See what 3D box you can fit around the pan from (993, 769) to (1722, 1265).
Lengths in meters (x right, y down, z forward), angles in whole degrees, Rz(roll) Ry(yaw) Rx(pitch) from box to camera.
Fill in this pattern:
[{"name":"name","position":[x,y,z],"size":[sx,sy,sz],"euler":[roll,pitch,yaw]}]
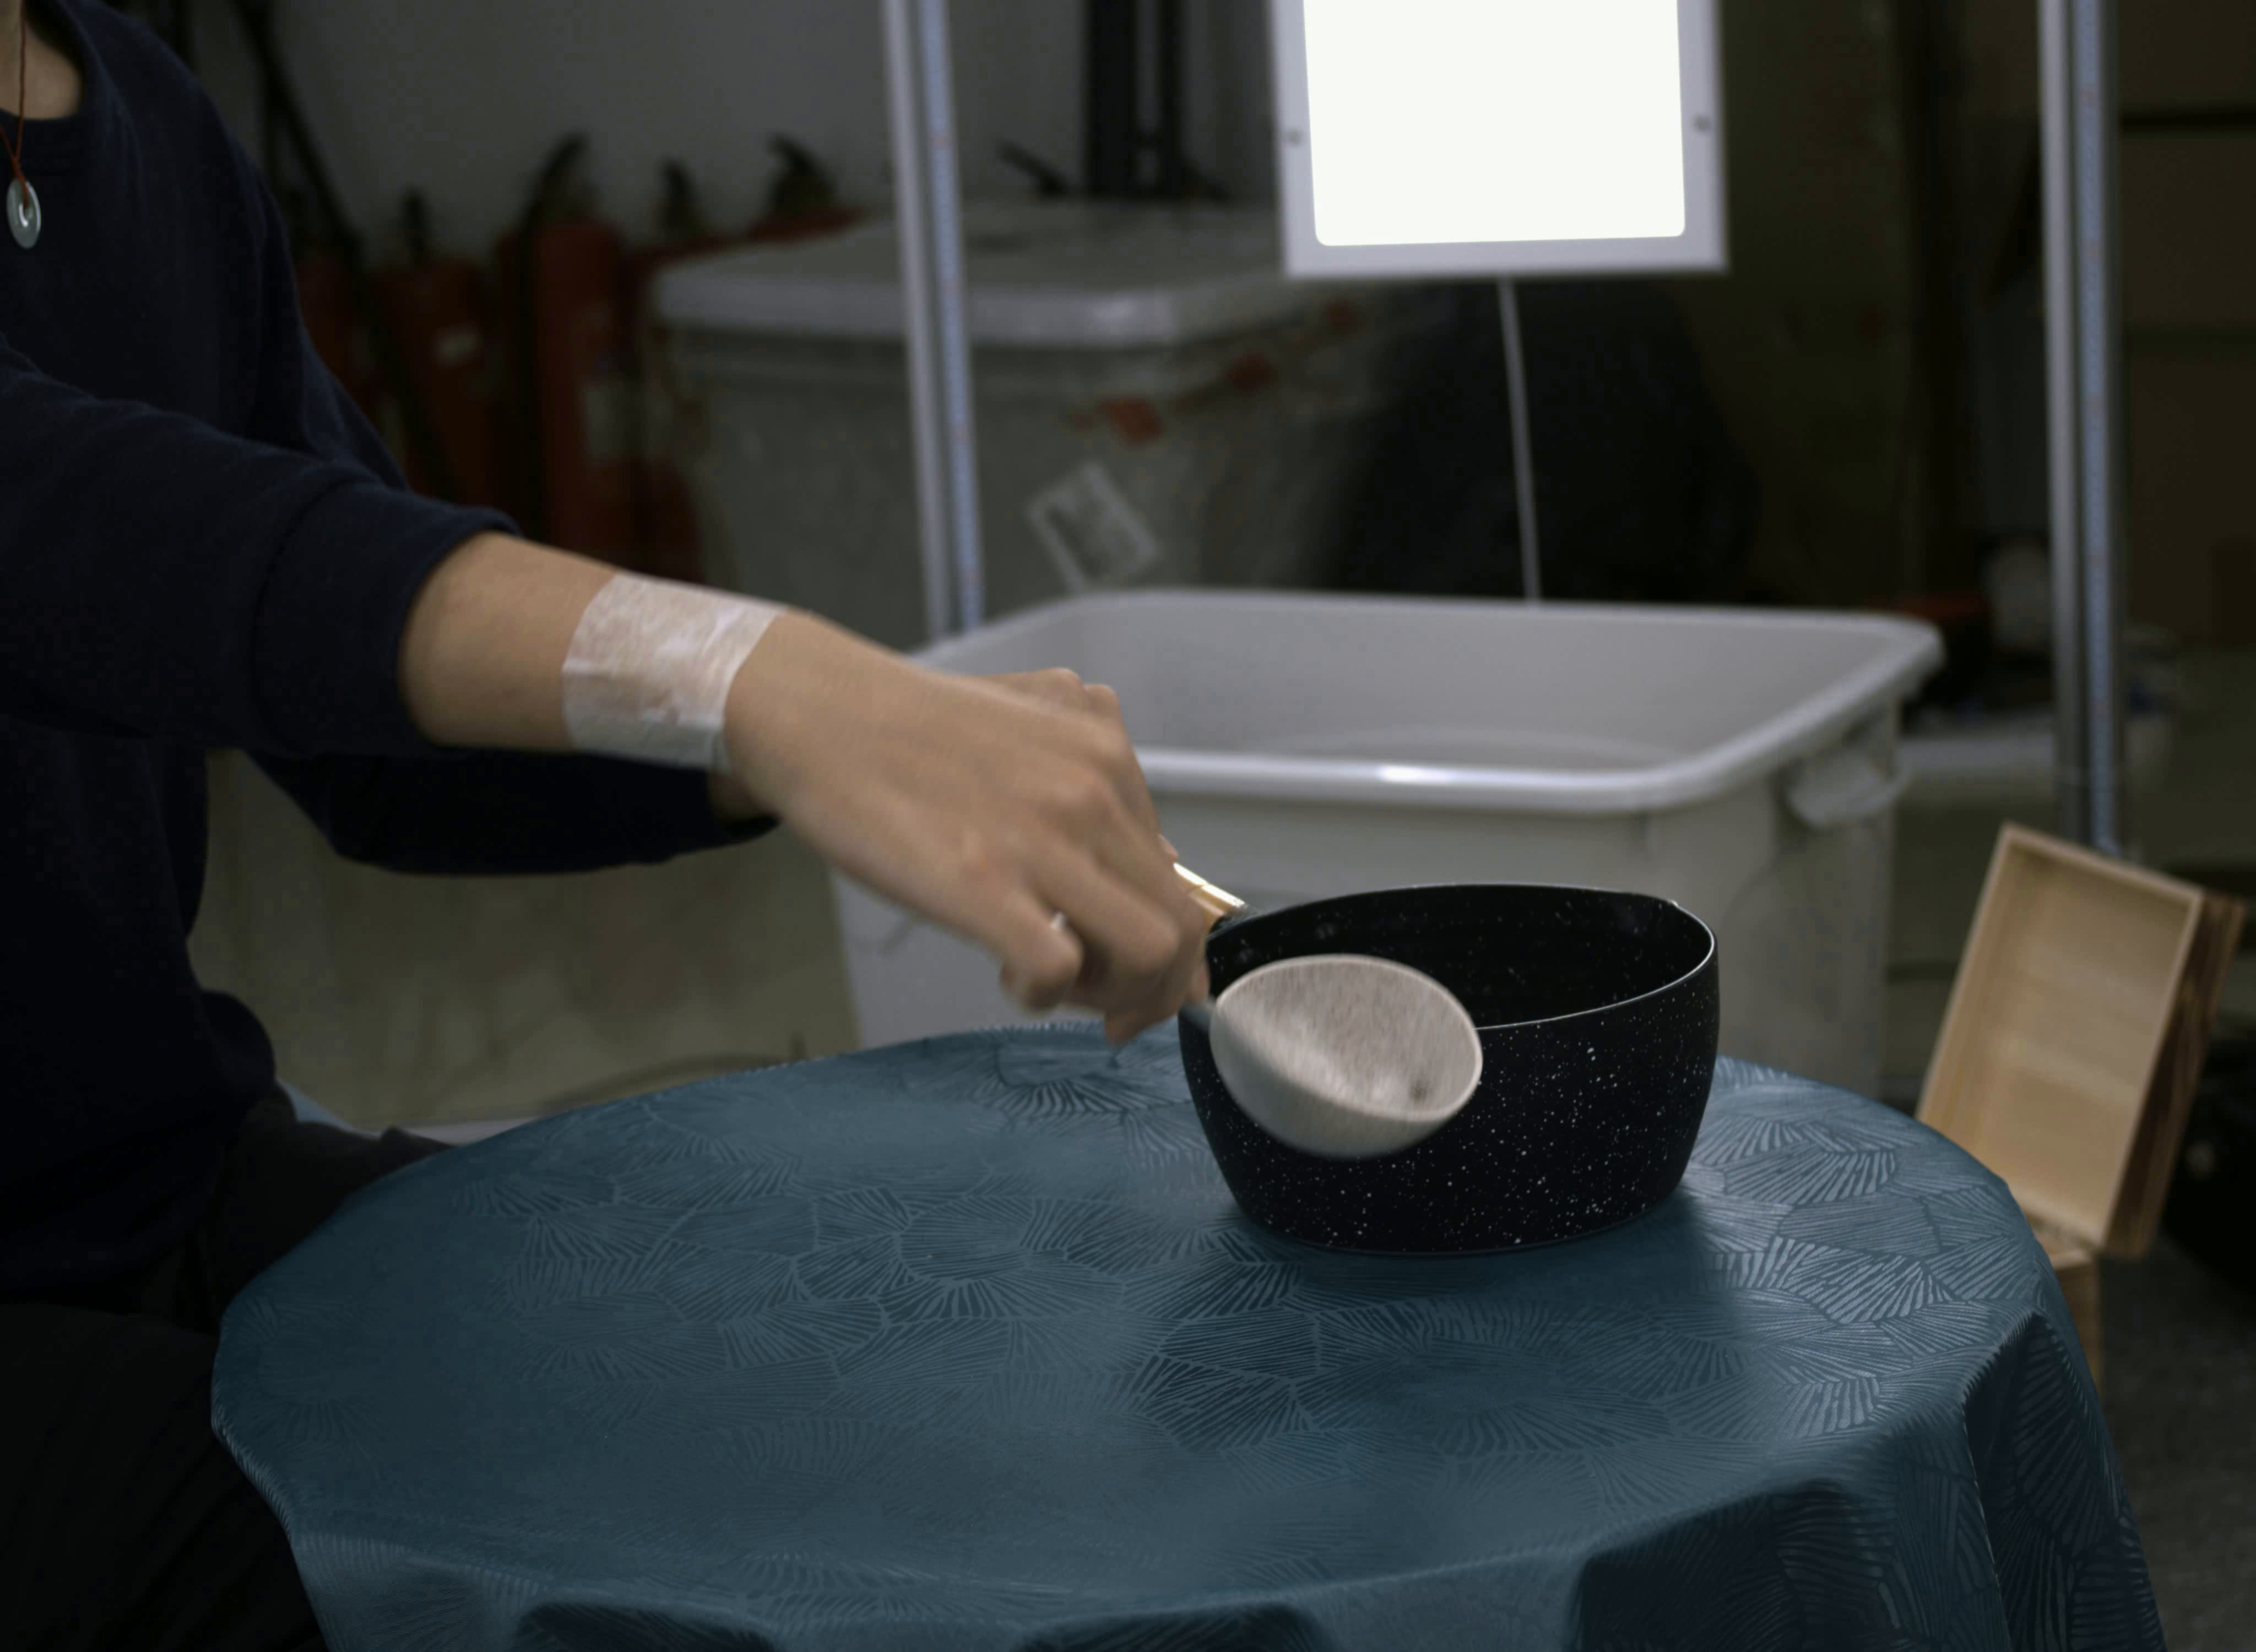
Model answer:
[{"name":"pan","position":[0.060,0.060,1.918],"size":[0.202,0.108,0.350],"euler":[-16,19,-34]}]

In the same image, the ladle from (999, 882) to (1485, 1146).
[{"name":"ladle","position":[0.031,0.033,1.615],"size":[0.090,0.069,0.271],"euler":[28,-6,27]}]
